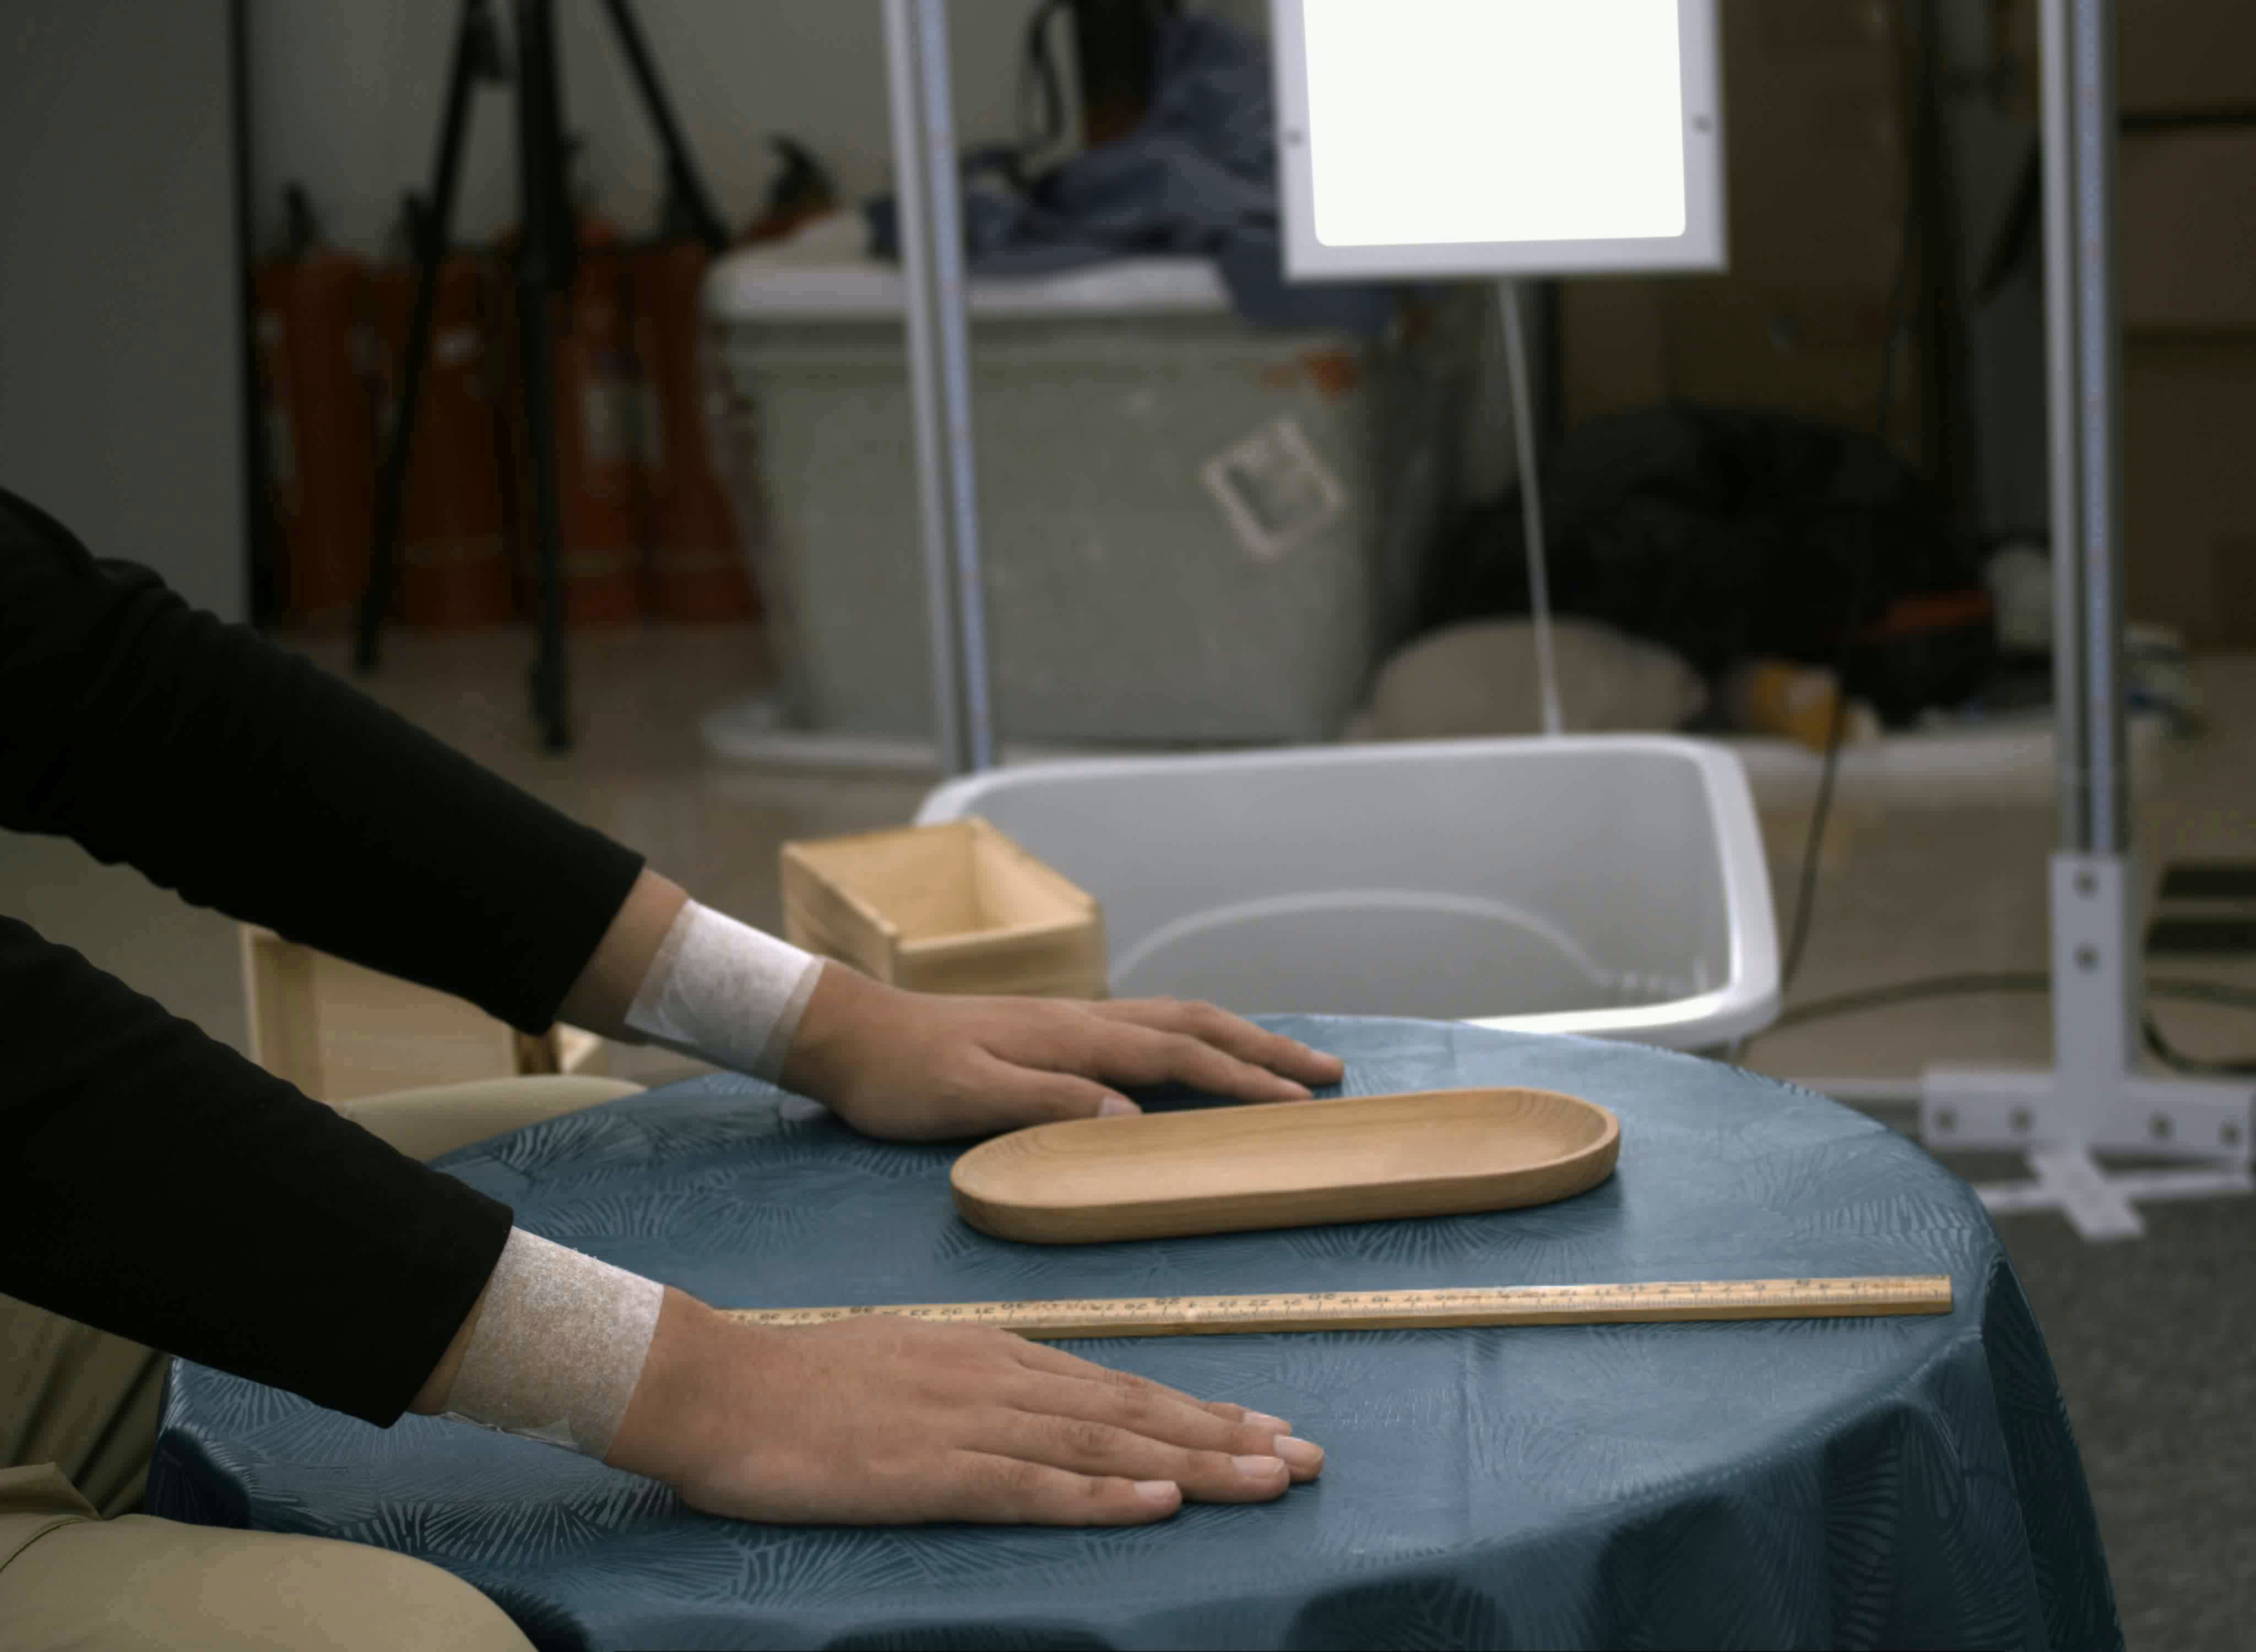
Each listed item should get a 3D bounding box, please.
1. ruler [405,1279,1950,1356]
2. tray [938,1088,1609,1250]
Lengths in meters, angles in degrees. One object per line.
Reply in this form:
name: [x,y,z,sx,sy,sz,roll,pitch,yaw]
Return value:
ruler: [0.012,0.157,1.760,0.503,0.006,0.026,-2,12,11]
tray: [0.050,0.118,1.882,0.230,0.020,0.101,-7,12,0]
